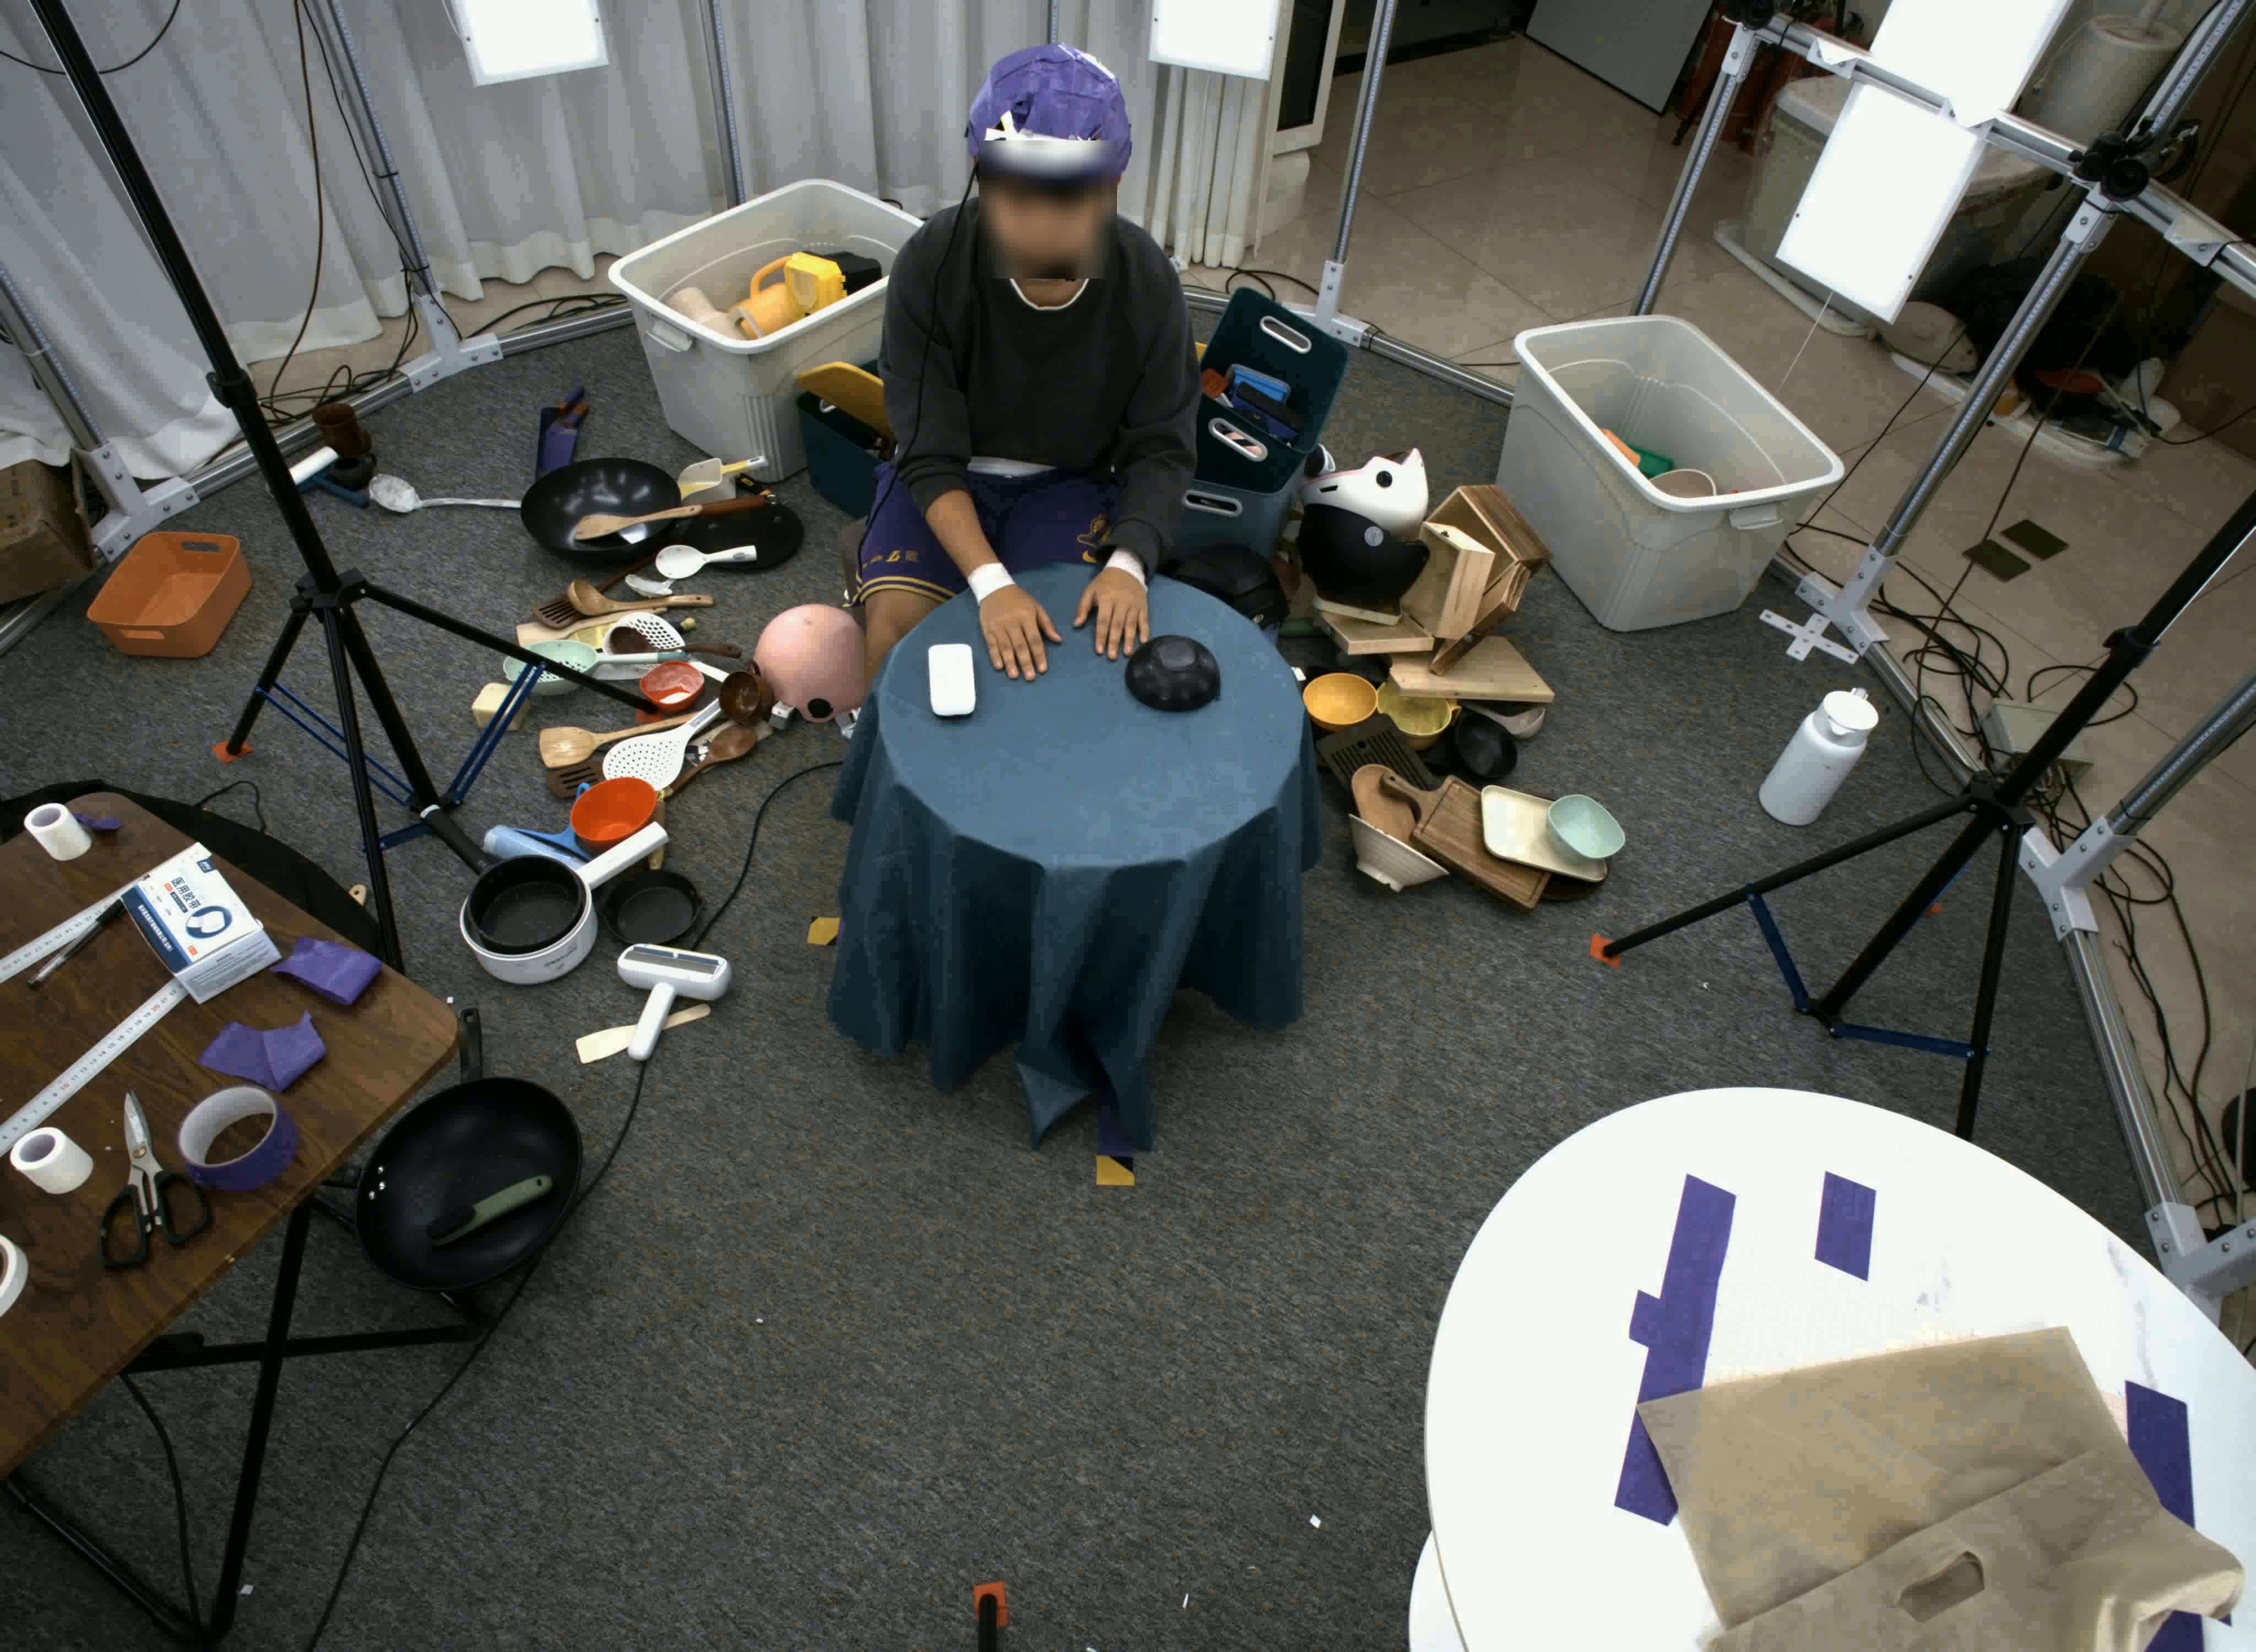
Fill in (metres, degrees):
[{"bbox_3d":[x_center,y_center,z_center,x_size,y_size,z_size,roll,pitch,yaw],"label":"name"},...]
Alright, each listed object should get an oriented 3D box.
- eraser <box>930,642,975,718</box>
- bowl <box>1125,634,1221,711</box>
[{"bbox_3d":[-0.246,-0.208,1.810,0.063,0.034,0.134,-1,51,-7],"label":"eraser"},{"bbox_3d":[0.066,-0.231,1.838,0.140,0.048,0.143,1,50,-2],"label":"bowl"}]
